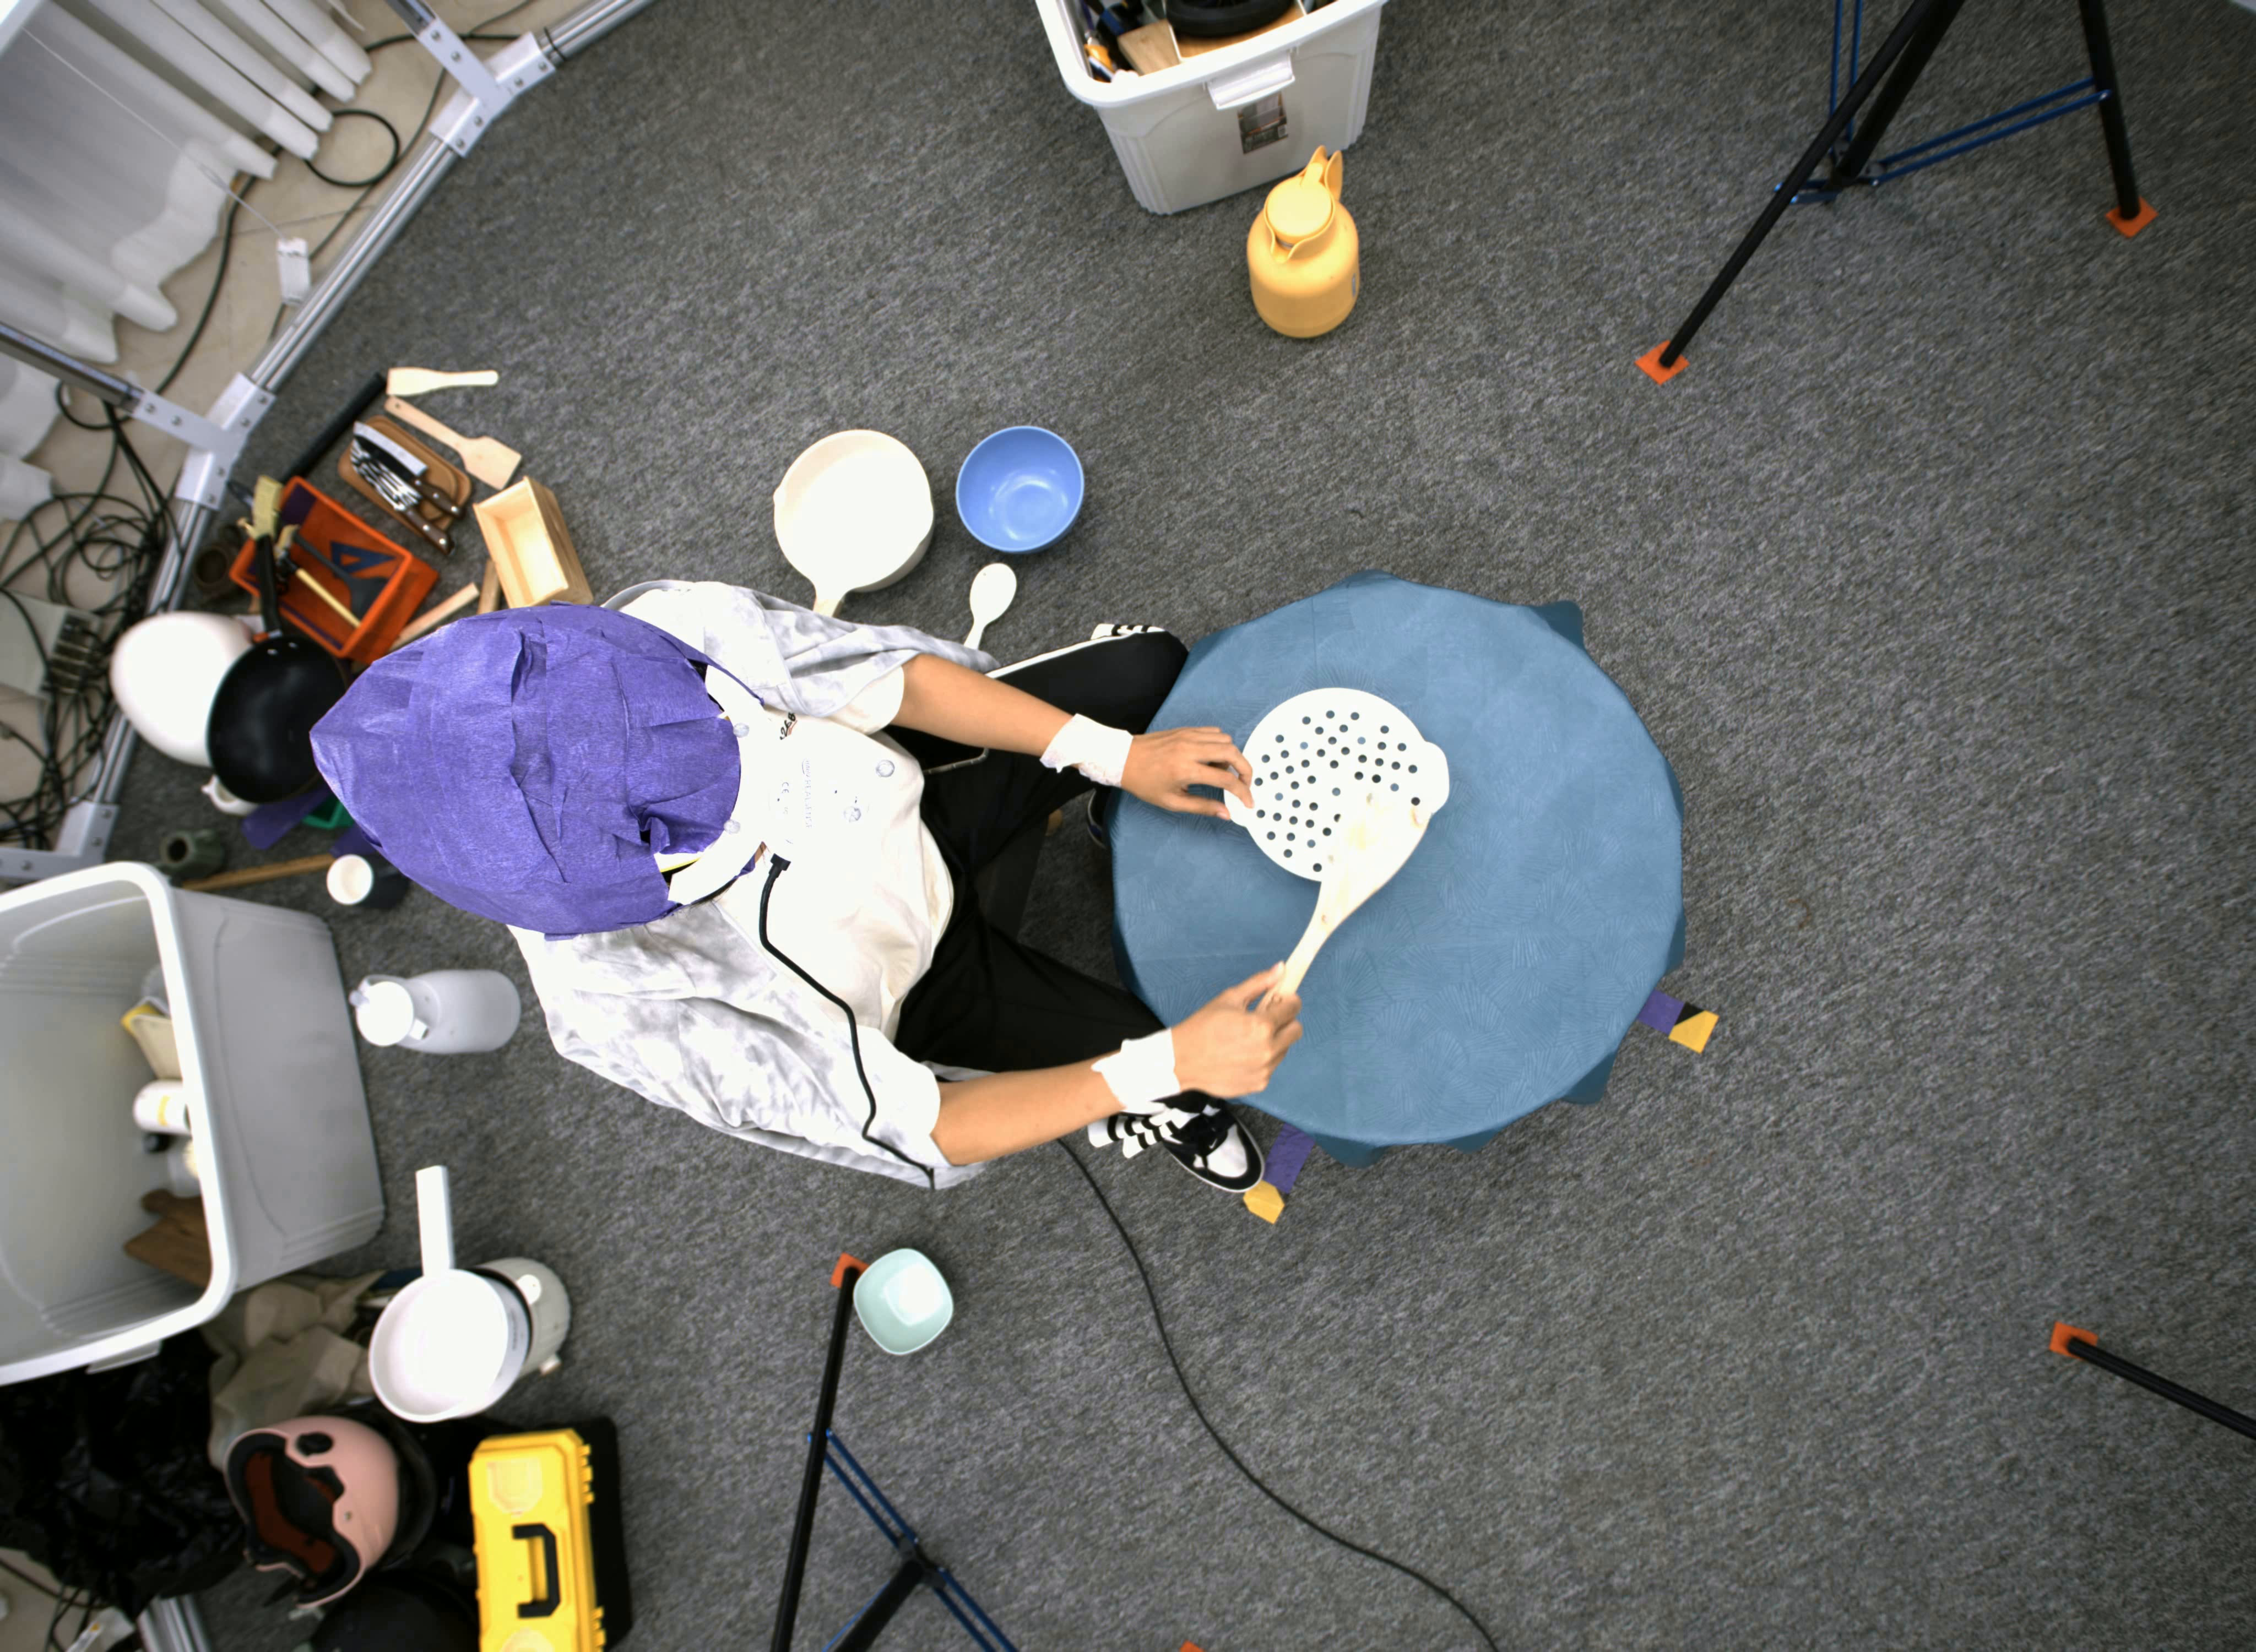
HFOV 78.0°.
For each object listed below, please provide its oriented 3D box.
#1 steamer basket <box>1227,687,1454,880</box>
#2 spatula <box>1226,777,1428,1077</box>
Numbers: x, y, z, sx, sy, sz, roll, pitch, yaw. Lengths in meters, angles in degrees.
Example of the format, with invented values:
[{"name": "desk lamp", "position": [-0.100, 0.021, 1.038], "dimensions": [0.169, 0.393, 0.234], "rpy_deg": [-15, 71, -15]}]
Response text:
[{"name": "steamer basket", "position": [0.222, -0.041, 1.440], "dimensions": [0.231, 0.069, 0.200], "rpy_deg": [-4, 85, 11]}, {"name": "spatula", "position": [0.180, 0.094, 1.321], "dimensions": [0.080, 0.017, 0.324], "rpy_deg": [31, 79, 4]}]
